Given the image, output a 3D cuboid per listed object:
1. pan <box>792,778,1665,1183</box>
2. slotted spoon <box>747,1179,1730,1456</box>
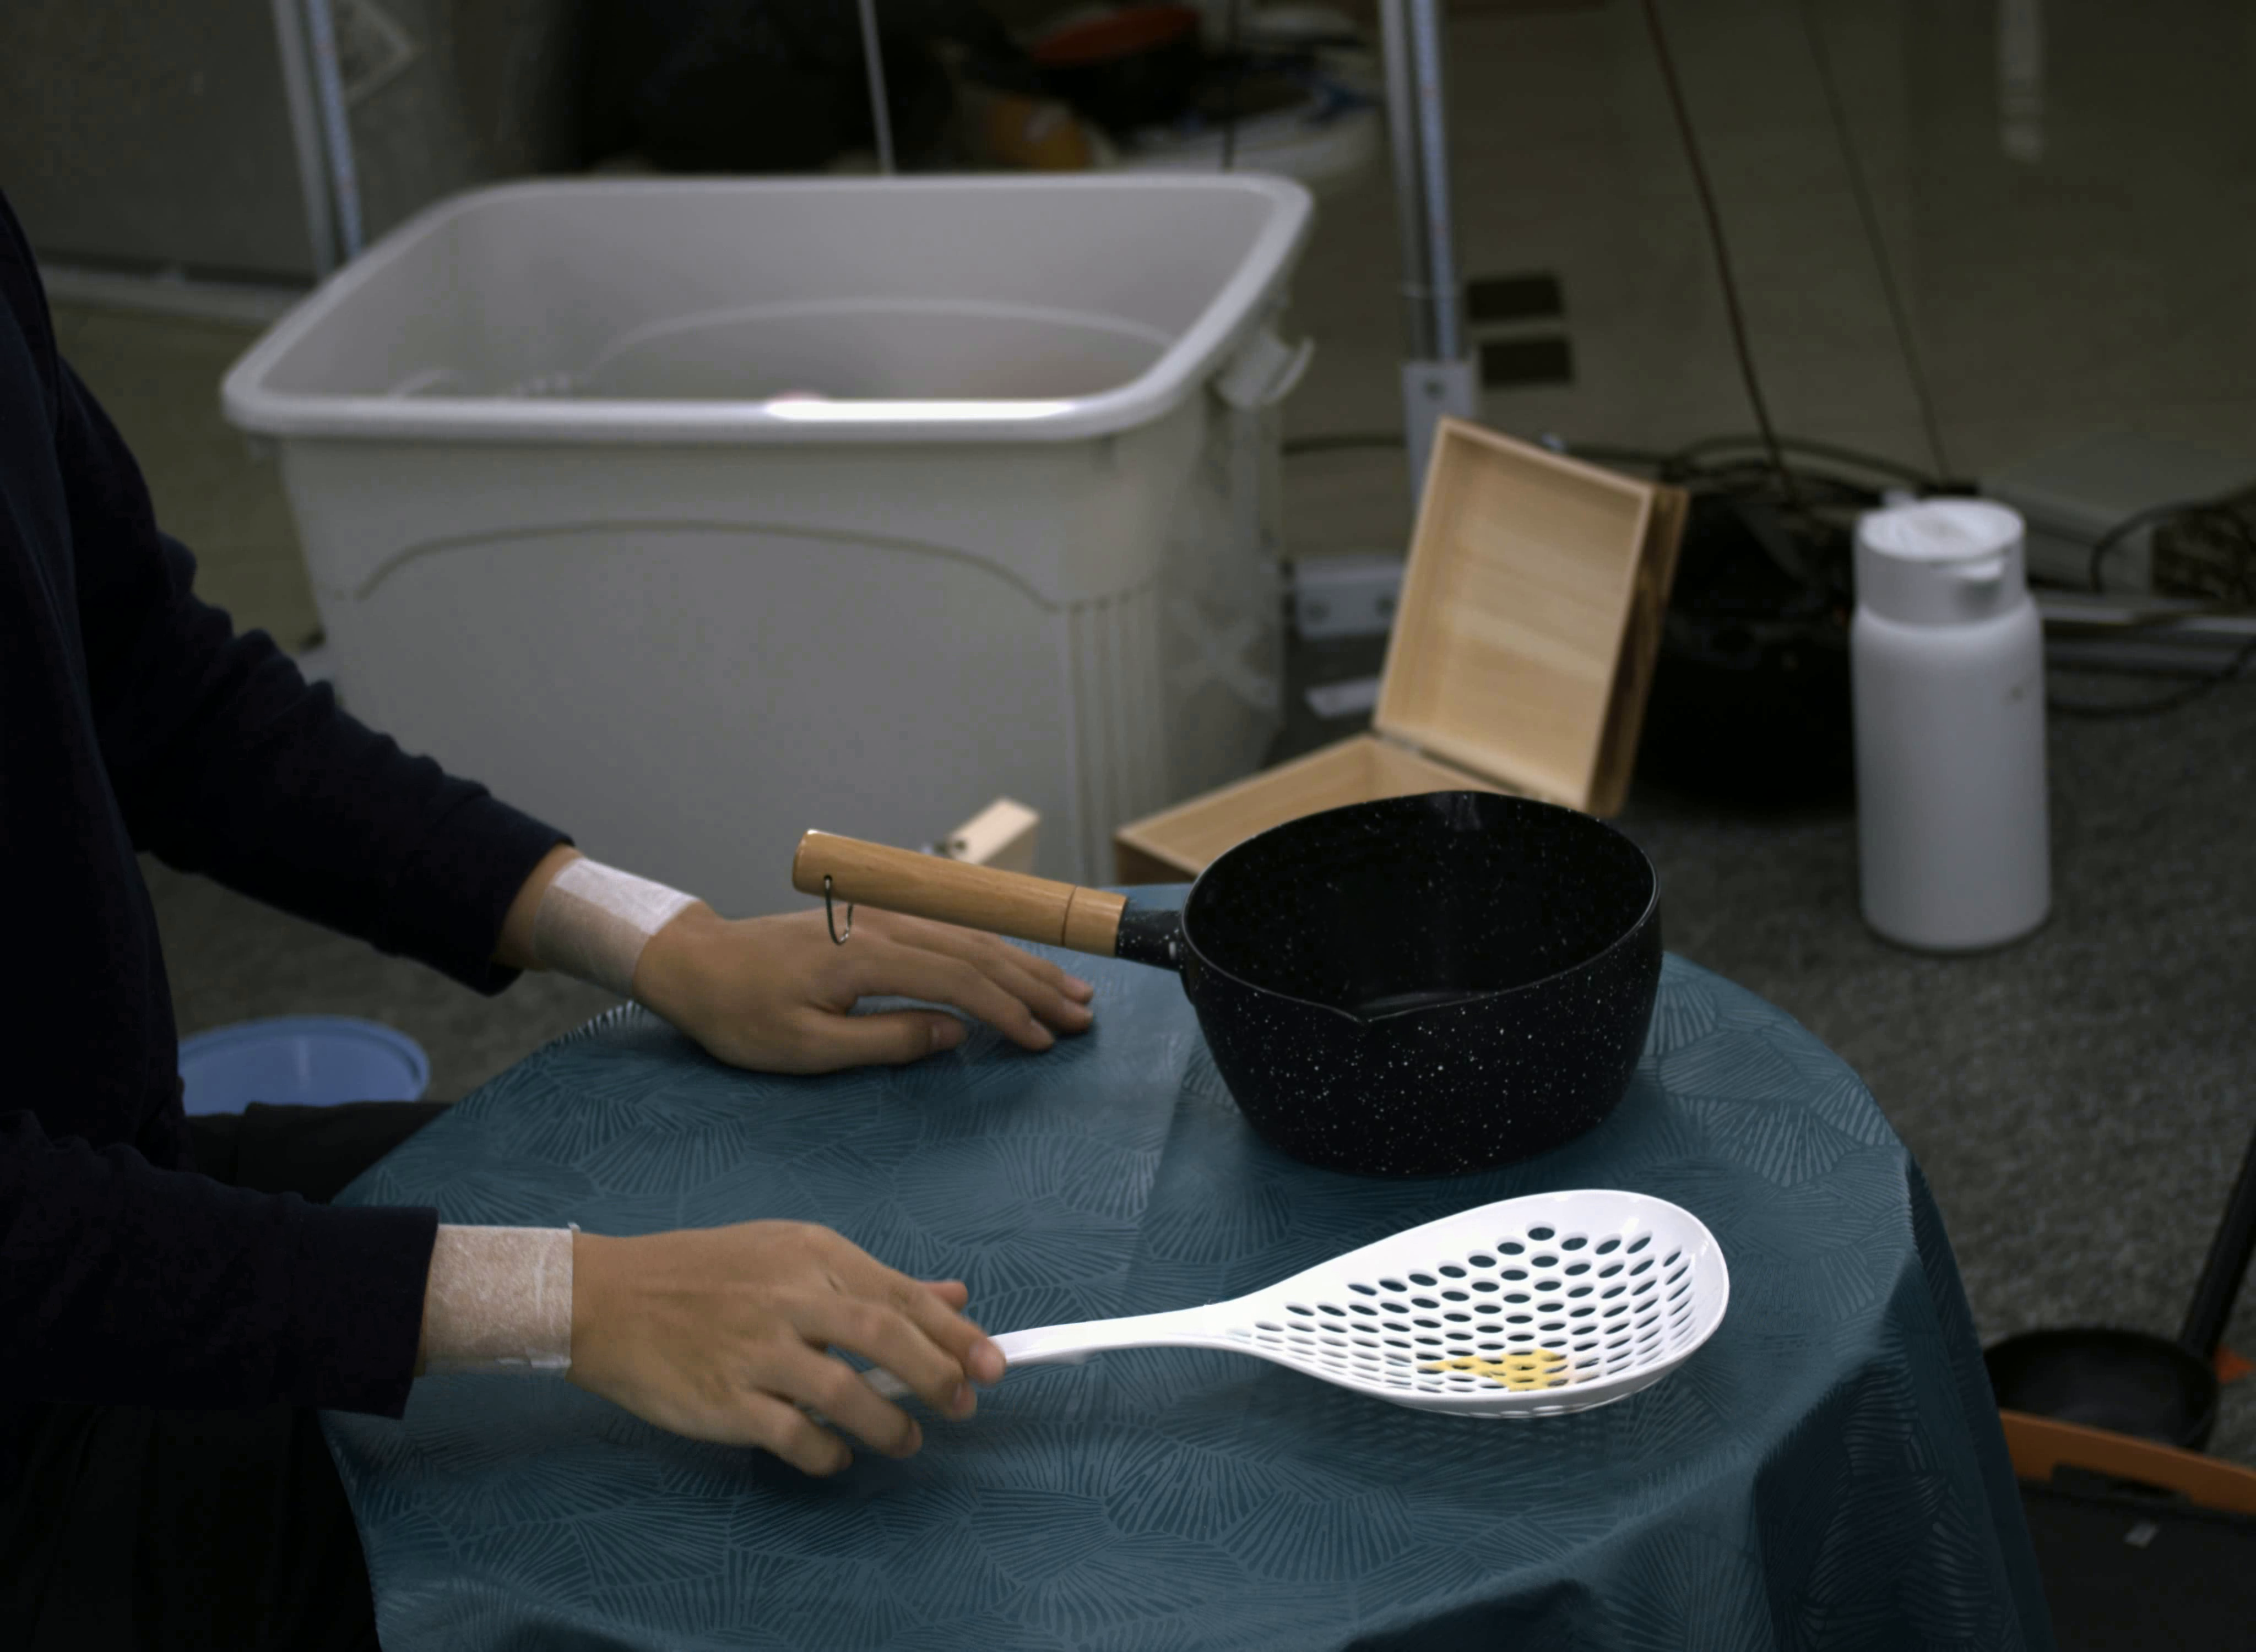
[{"bbox_3d":[0.037,0.054,2.191,0.342,0.110,0.204,1,27,13],"label":"pan"},{"bbox_3d":[0.037,0.185,1.989,0.347,0.051,0.134,-3,27,3],"label":"slotted spoon"}]
